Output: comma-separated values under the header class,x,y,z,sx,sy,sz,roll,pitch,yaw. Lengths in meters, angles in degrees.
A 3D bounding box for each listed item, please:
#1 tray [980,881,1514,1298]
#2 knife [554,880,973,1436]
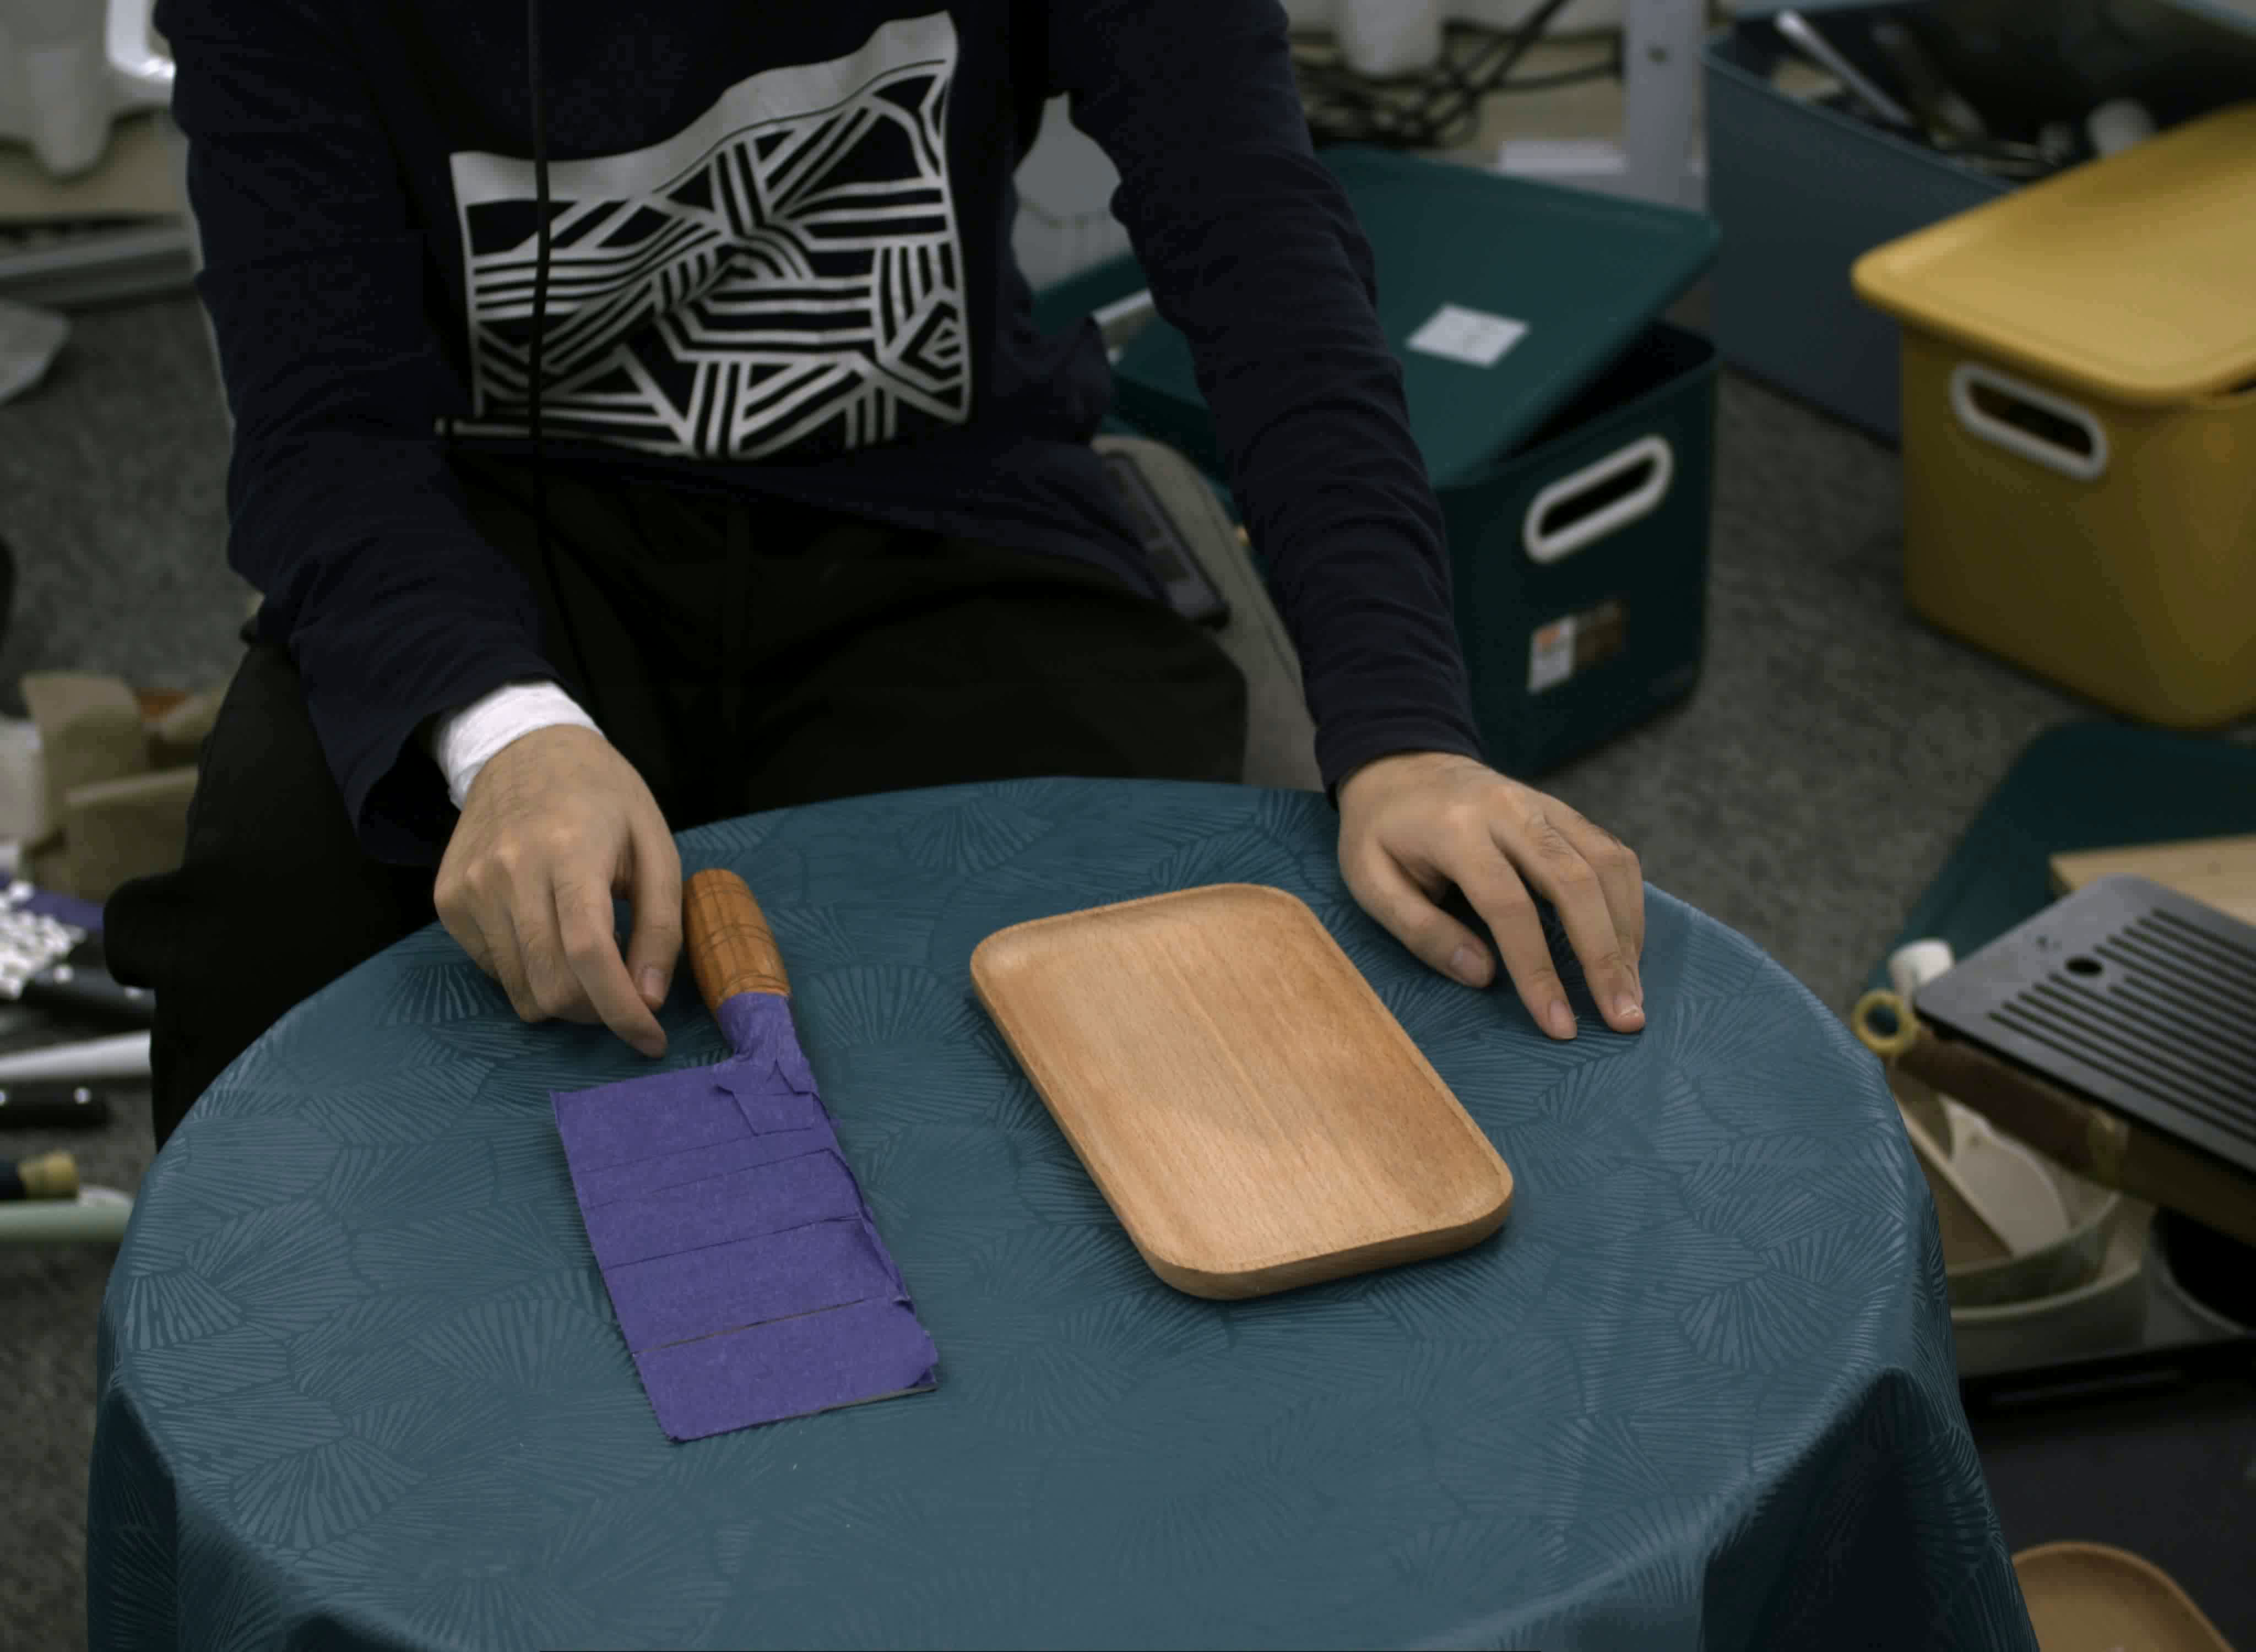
class,x,y,z,sx,sy,sz,roll,pitch,yaw
tray,0.037,0.087,1.908,0.130,0.022,0.253,-7,27,-14
knife,-0.140,0.106,1.876,0.104,0.032,0.318,-10,28,-13
